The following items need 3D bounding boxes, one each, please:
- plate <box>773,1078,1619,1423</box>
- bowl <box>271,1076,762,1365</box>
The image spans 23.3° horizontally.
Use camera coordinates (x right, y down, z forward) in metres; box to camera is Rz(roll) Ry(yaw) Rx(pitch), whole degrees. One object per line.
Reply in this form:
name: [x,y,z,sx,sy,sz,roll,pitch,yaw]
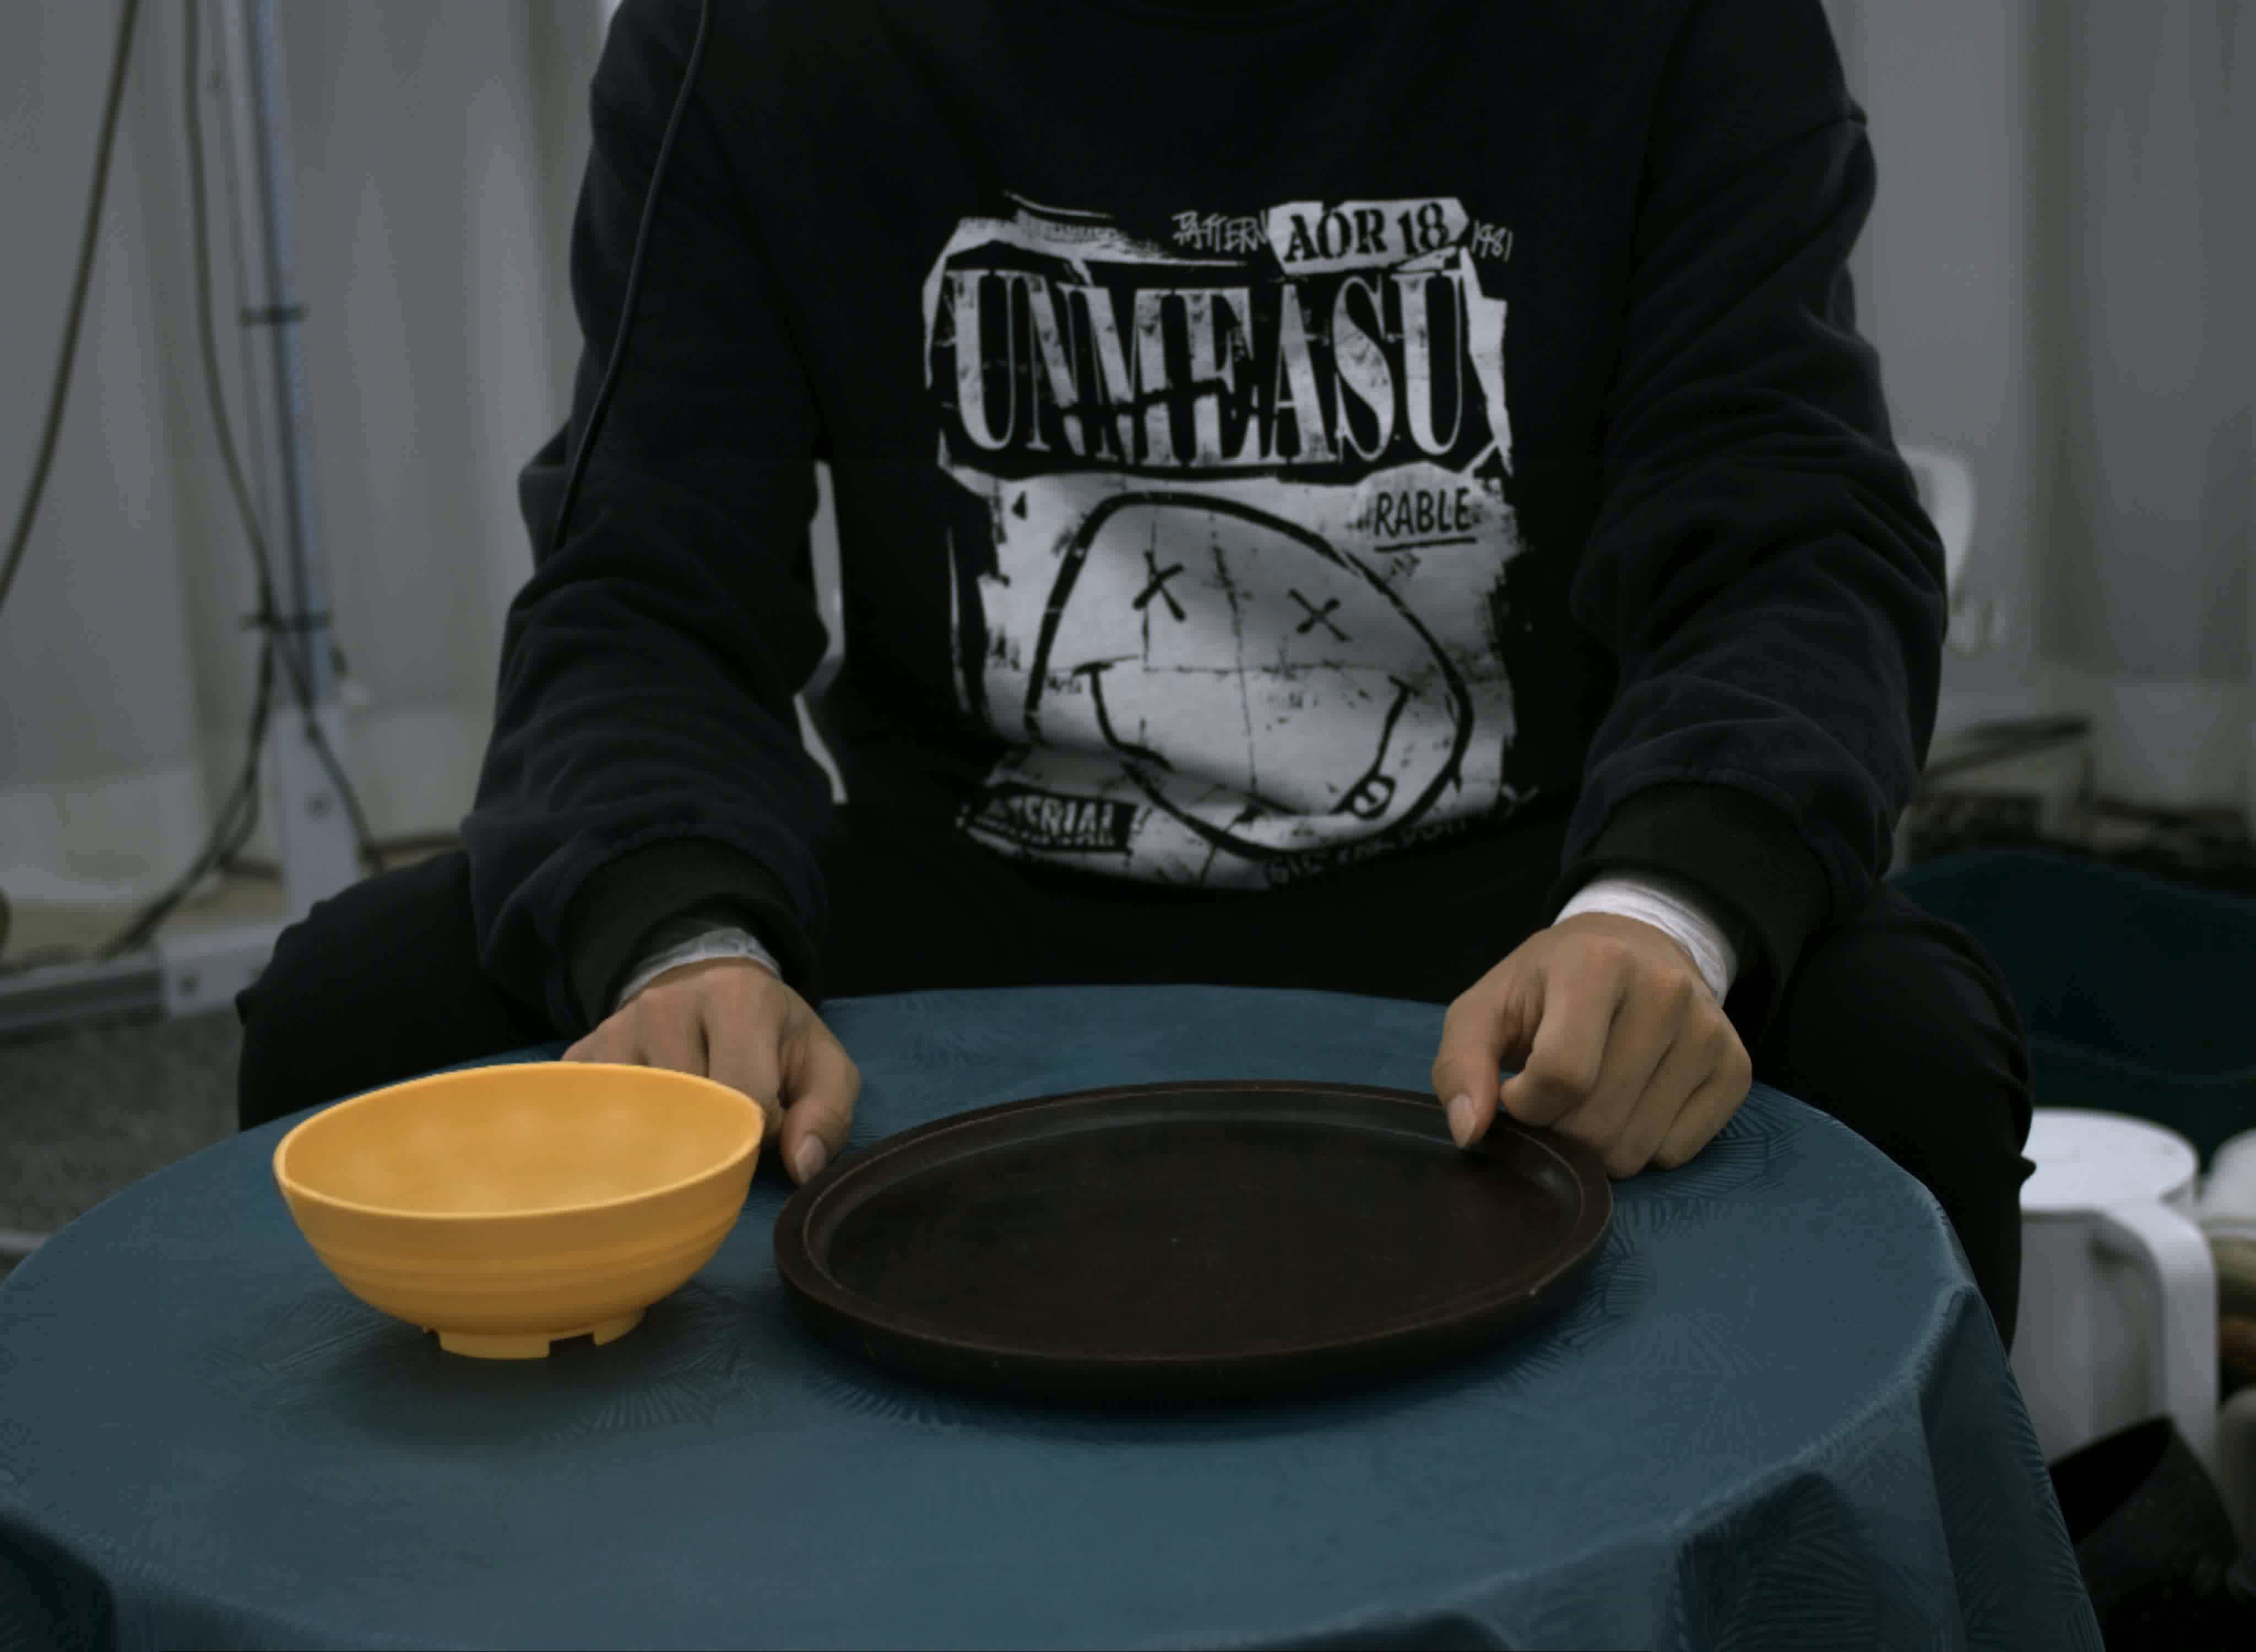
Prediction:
plate: [0.020,0.124,1.633,0.254,0.029,0.256,-4,14,1]
bowl: [-0.180,0.121,1.618,0.145,0.060,0.146,-1,13,0]
